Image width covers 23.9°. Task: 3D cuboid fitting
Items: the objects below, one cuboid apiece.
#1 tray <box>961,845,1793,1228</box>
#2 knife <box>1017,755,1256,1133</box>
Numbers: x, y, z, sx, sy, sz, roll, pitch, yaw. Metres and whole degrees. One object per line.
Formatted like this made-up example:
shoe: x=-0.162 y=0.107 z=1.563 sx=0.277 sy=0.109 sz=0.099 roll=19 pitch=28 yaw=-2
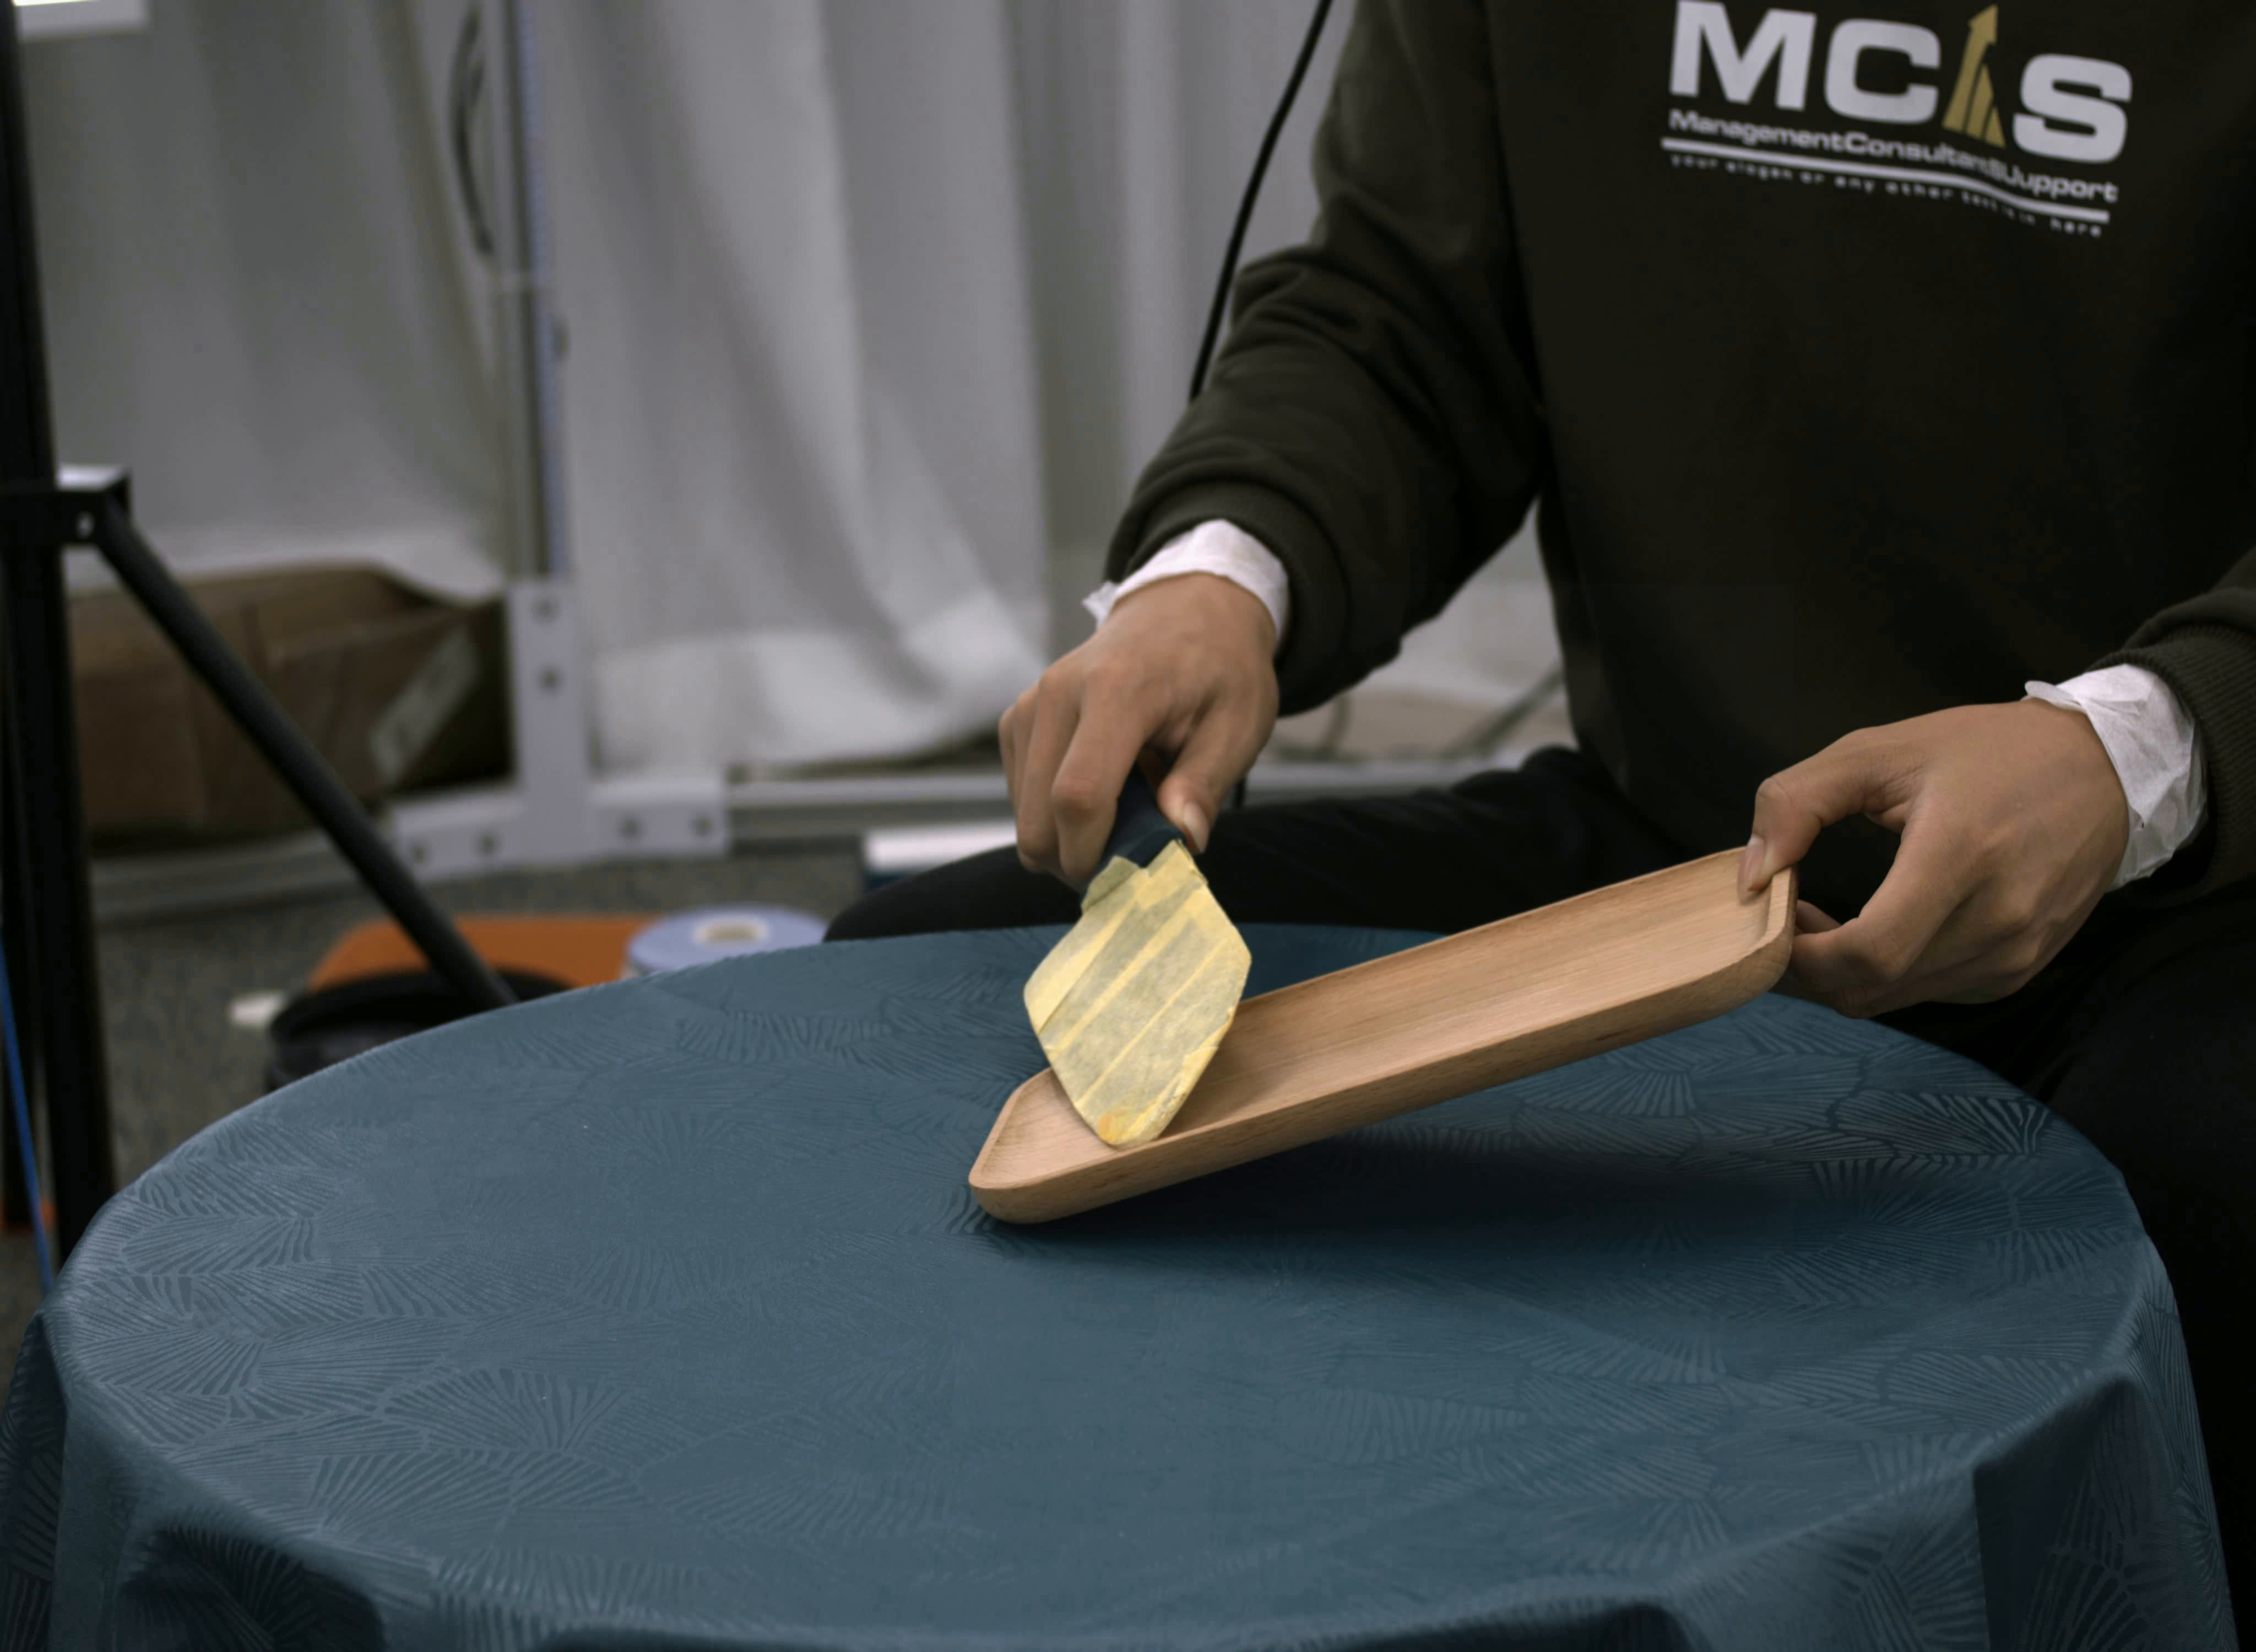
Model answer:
tray: x=0.075 y=0.062 z=1.548 sx=0.252 sy=0.023 sz=0.130 roll=-18 pitch=10 yaw=15
knife: x=-0.004 y=0.034 z=1.661 sx=0.081 sy=0.027 sz=0.292 roll=-45 pitch=18 yaw=8
